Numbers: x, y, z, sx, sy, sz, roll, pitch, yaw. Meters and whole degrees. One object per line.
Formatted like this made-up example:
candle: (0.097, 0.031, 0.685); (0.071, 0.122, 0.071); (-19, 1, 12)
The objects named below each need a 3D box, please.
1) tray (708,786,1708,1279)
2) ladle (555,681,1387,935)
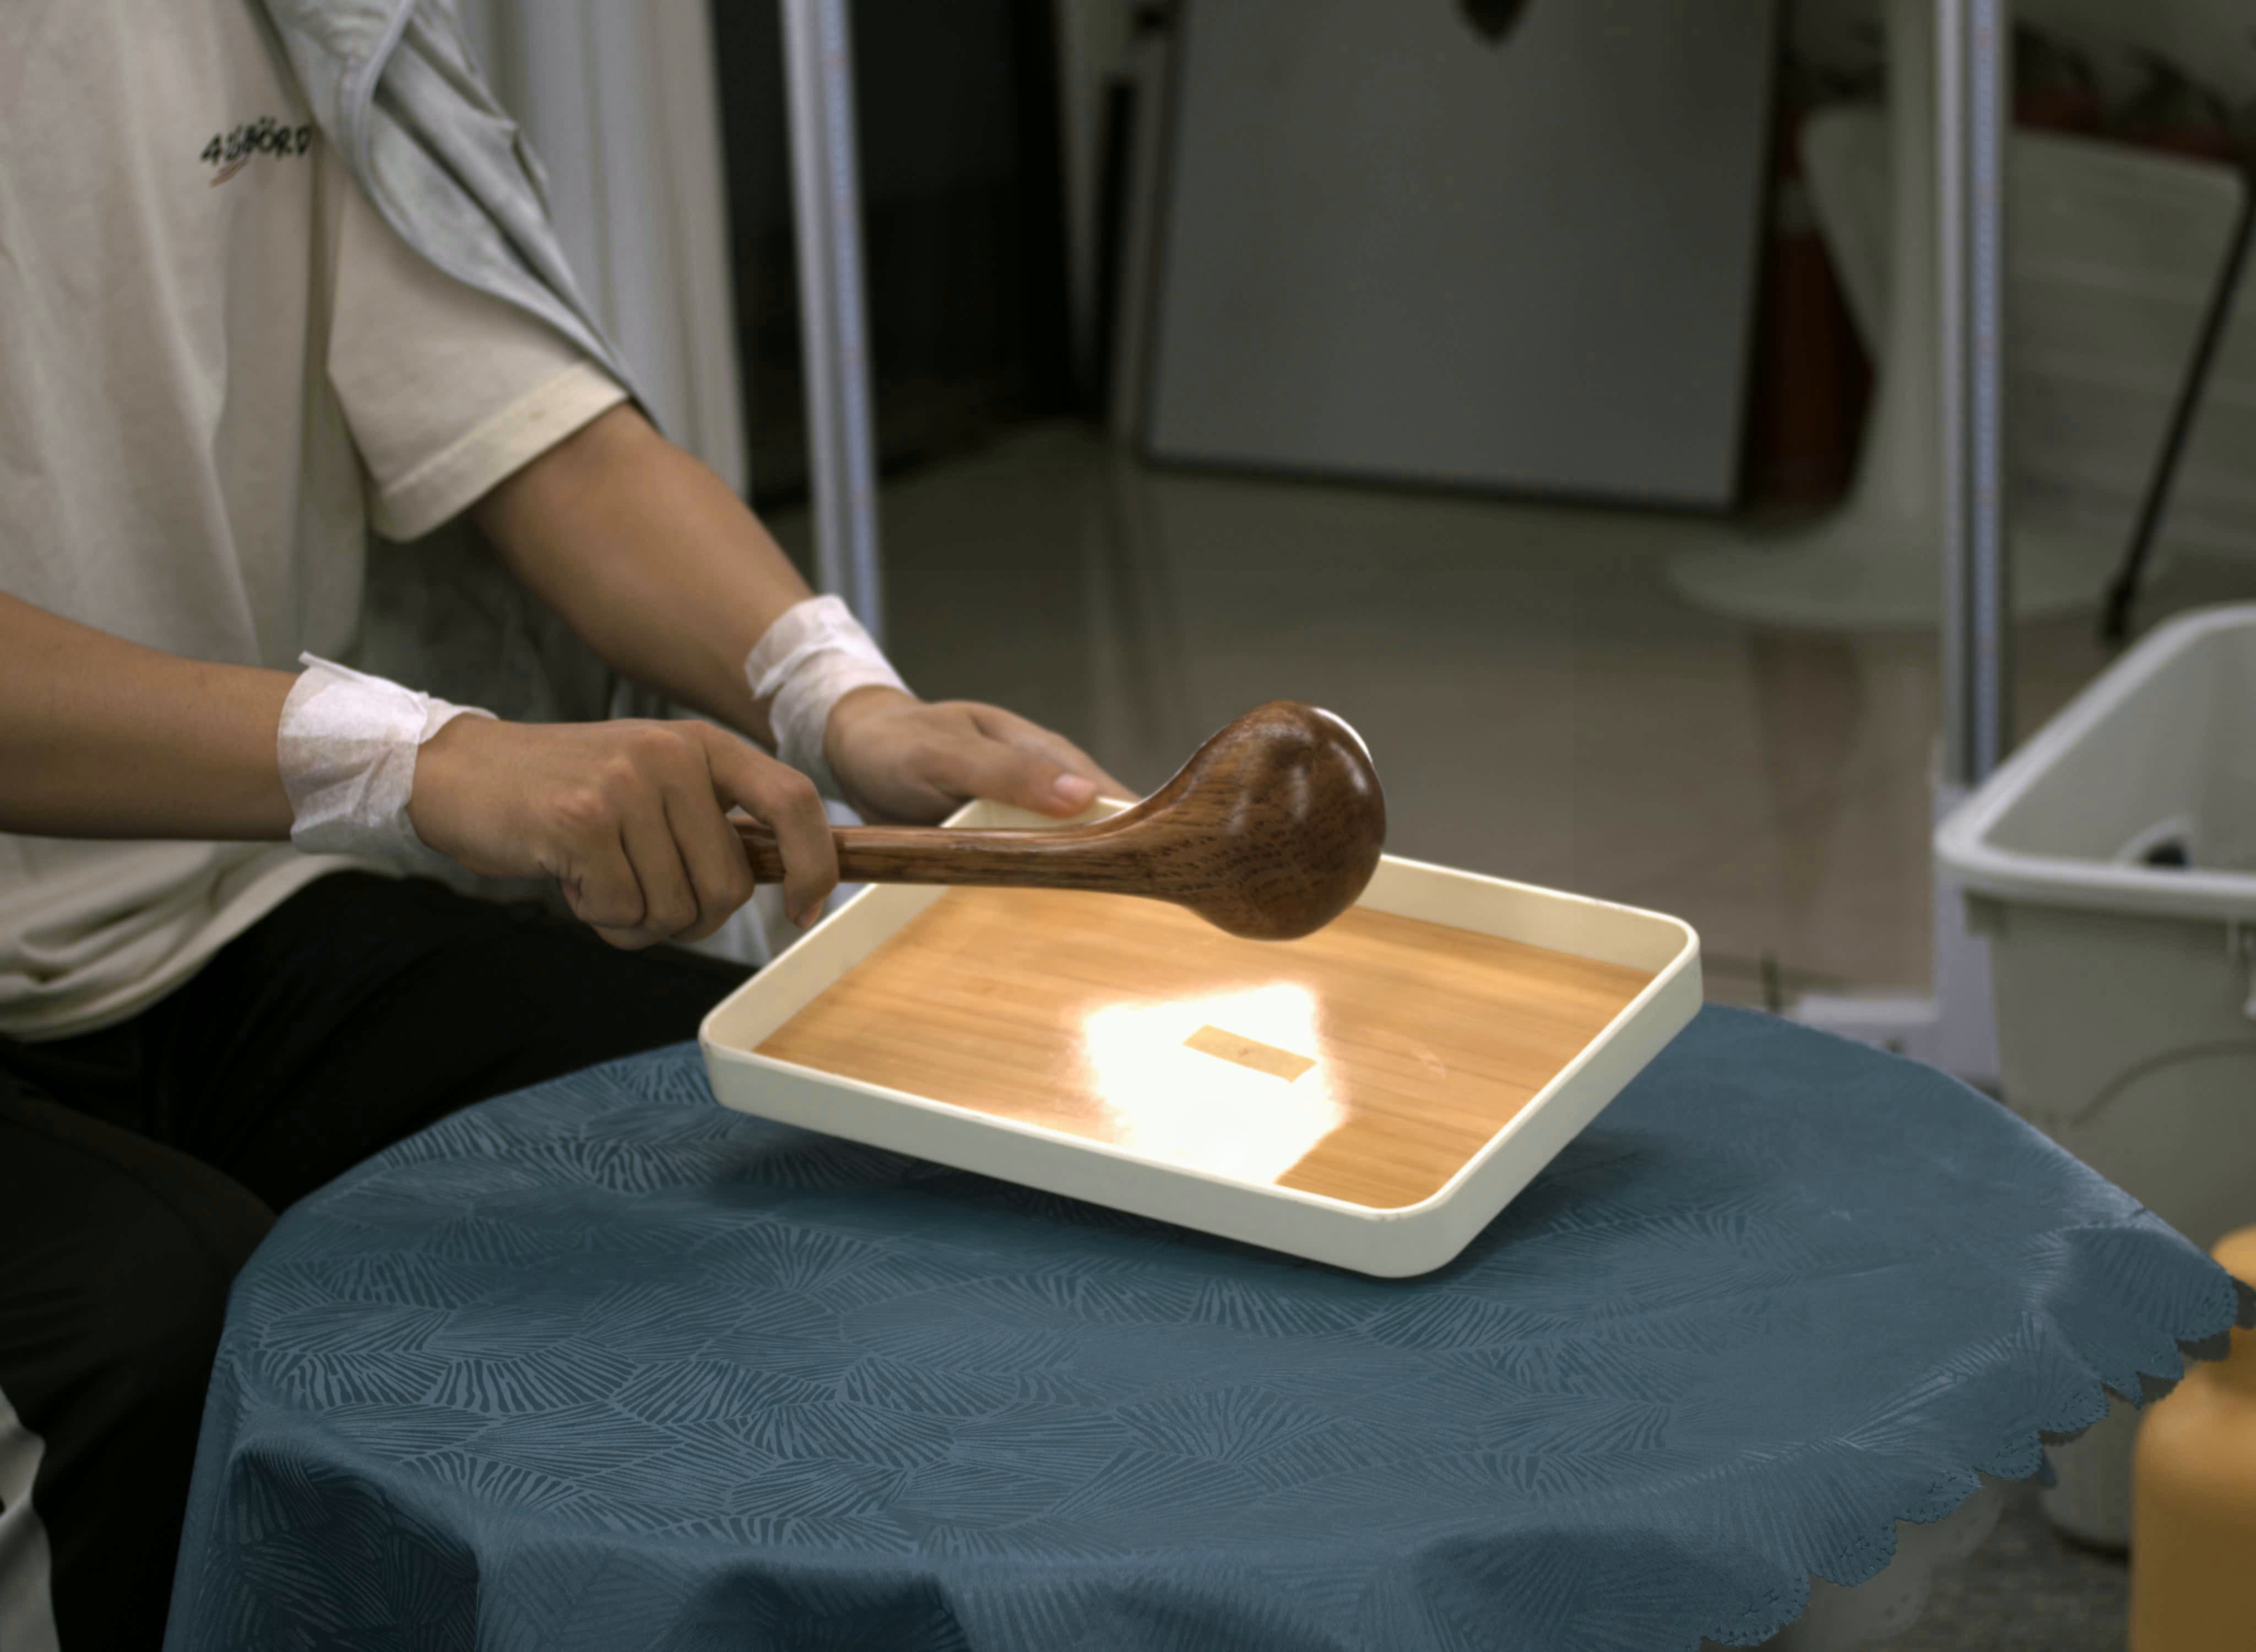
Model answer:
tray: (0.025, 0.064, 1.797); (0.302, 0.027, 0.189); (12, 36, 36)
ladle: (-0.050, 0.000, 1.776); (0.273, 0.083, 0.076); (-2, 14, 18)
